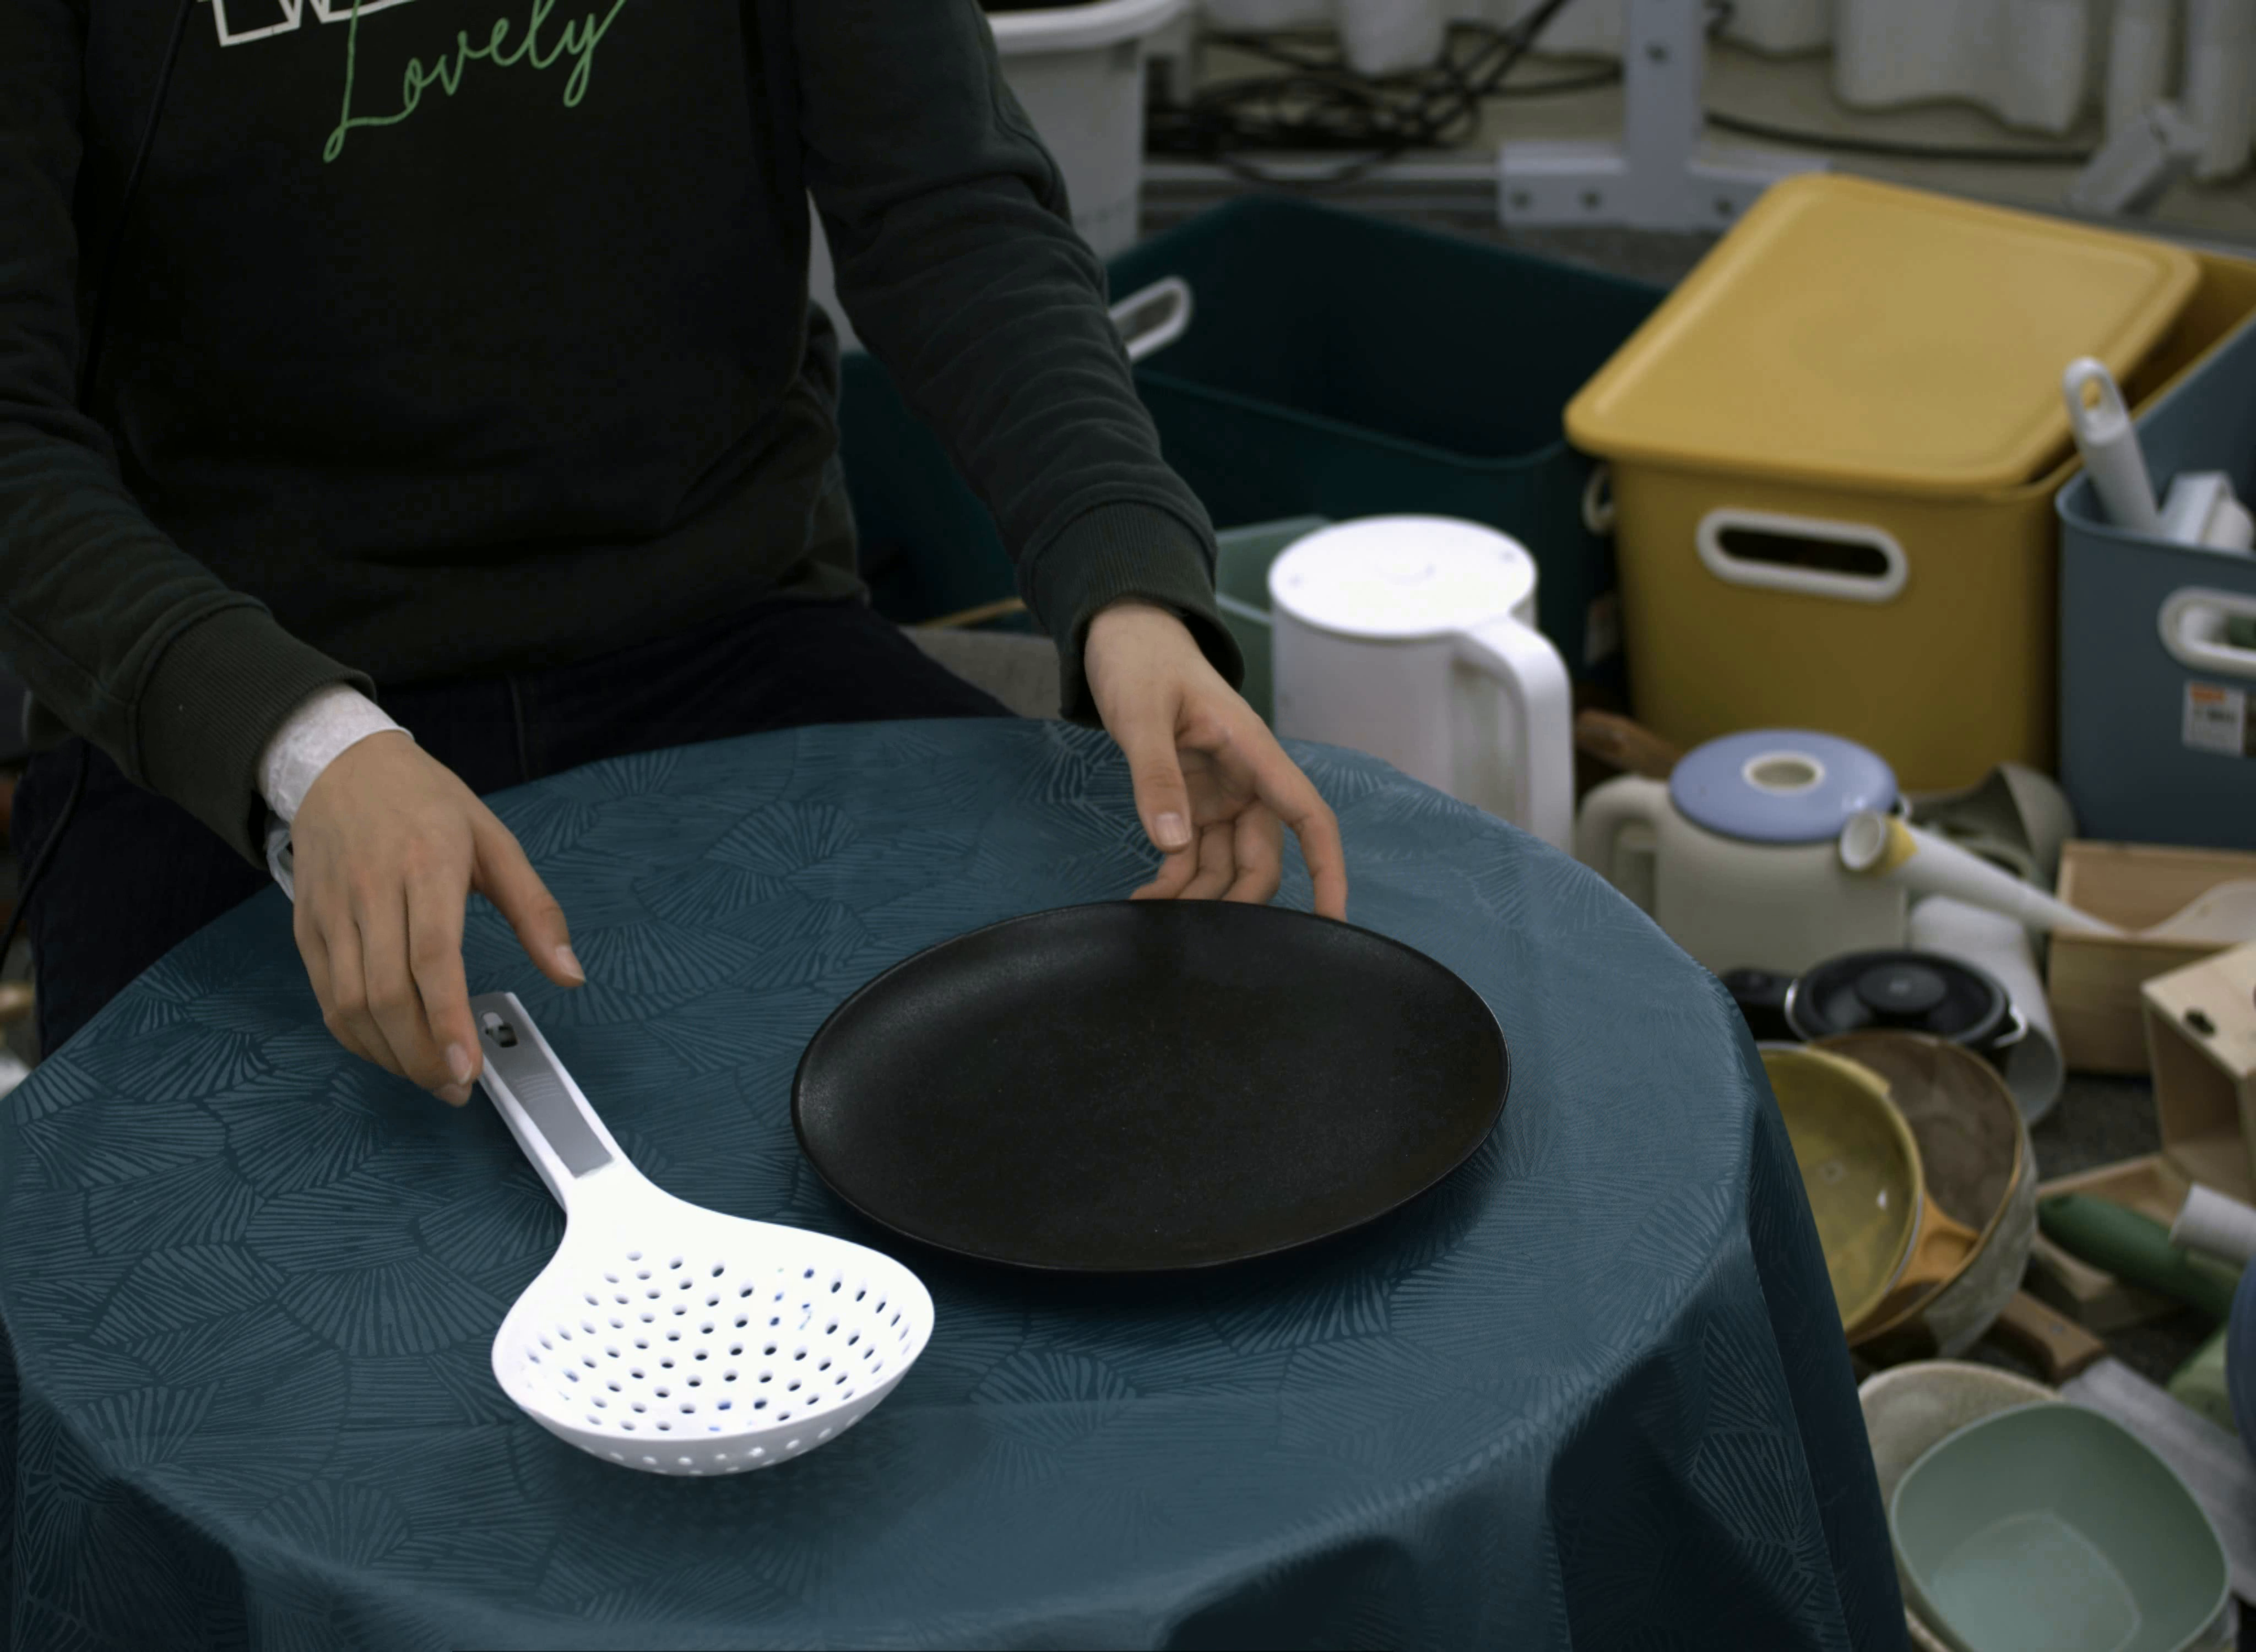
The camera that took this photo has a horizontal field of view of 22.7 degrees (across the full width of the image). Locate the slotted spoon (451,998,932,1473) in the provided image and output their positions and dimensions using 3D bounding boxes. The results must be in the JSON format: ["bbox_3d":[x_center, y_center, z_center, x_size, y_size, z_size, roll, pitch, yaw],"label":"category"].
[{"bbox_3d":[-0.166,0.126,1.820,0.136,0.045,0.352,-10,27,-18],"label":"slotted spoon"}]

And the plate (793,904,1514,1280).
[{"bbox_3d":[0.009,0.093,1.891,0.243,0.023,0.248,-2,27,2],"label":"plate"}]
